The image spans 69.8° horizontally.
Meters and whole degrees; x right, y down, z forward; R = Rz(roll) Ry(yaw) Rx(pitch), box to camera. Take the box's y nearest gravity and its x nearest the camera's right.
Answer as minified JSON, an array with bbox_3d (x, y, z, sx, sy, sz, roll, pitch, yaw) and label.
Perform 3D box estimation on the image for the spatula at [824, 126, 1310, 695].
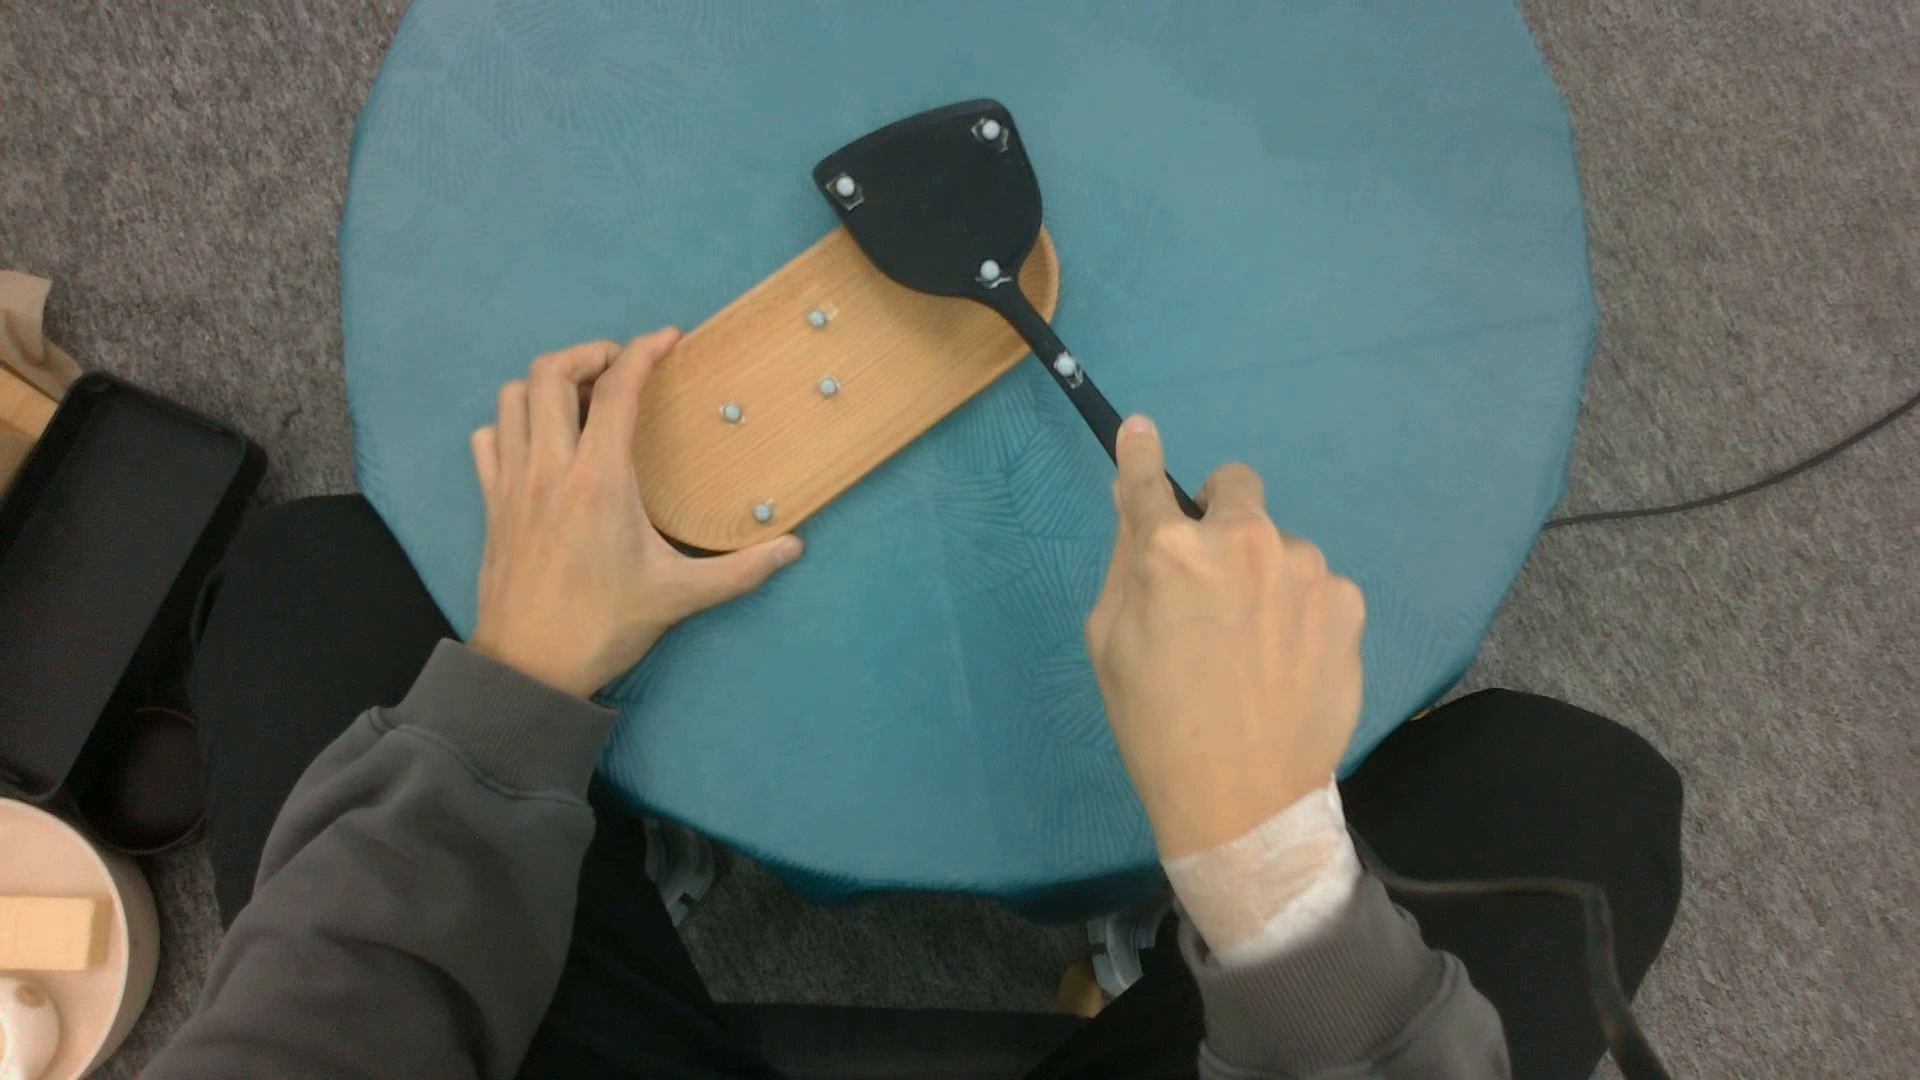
[{"bbox_3d":[0.048,-0.065,0.570,0.100,0.040,0.327,-25,52,-10],"label":"spatula"}]

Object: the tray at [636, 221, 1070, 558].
[{"bbox_3d":[-0.049,-0.080,0.660,0.231,0.020,0.102,-37,85,-8],"label":"tray"}]
